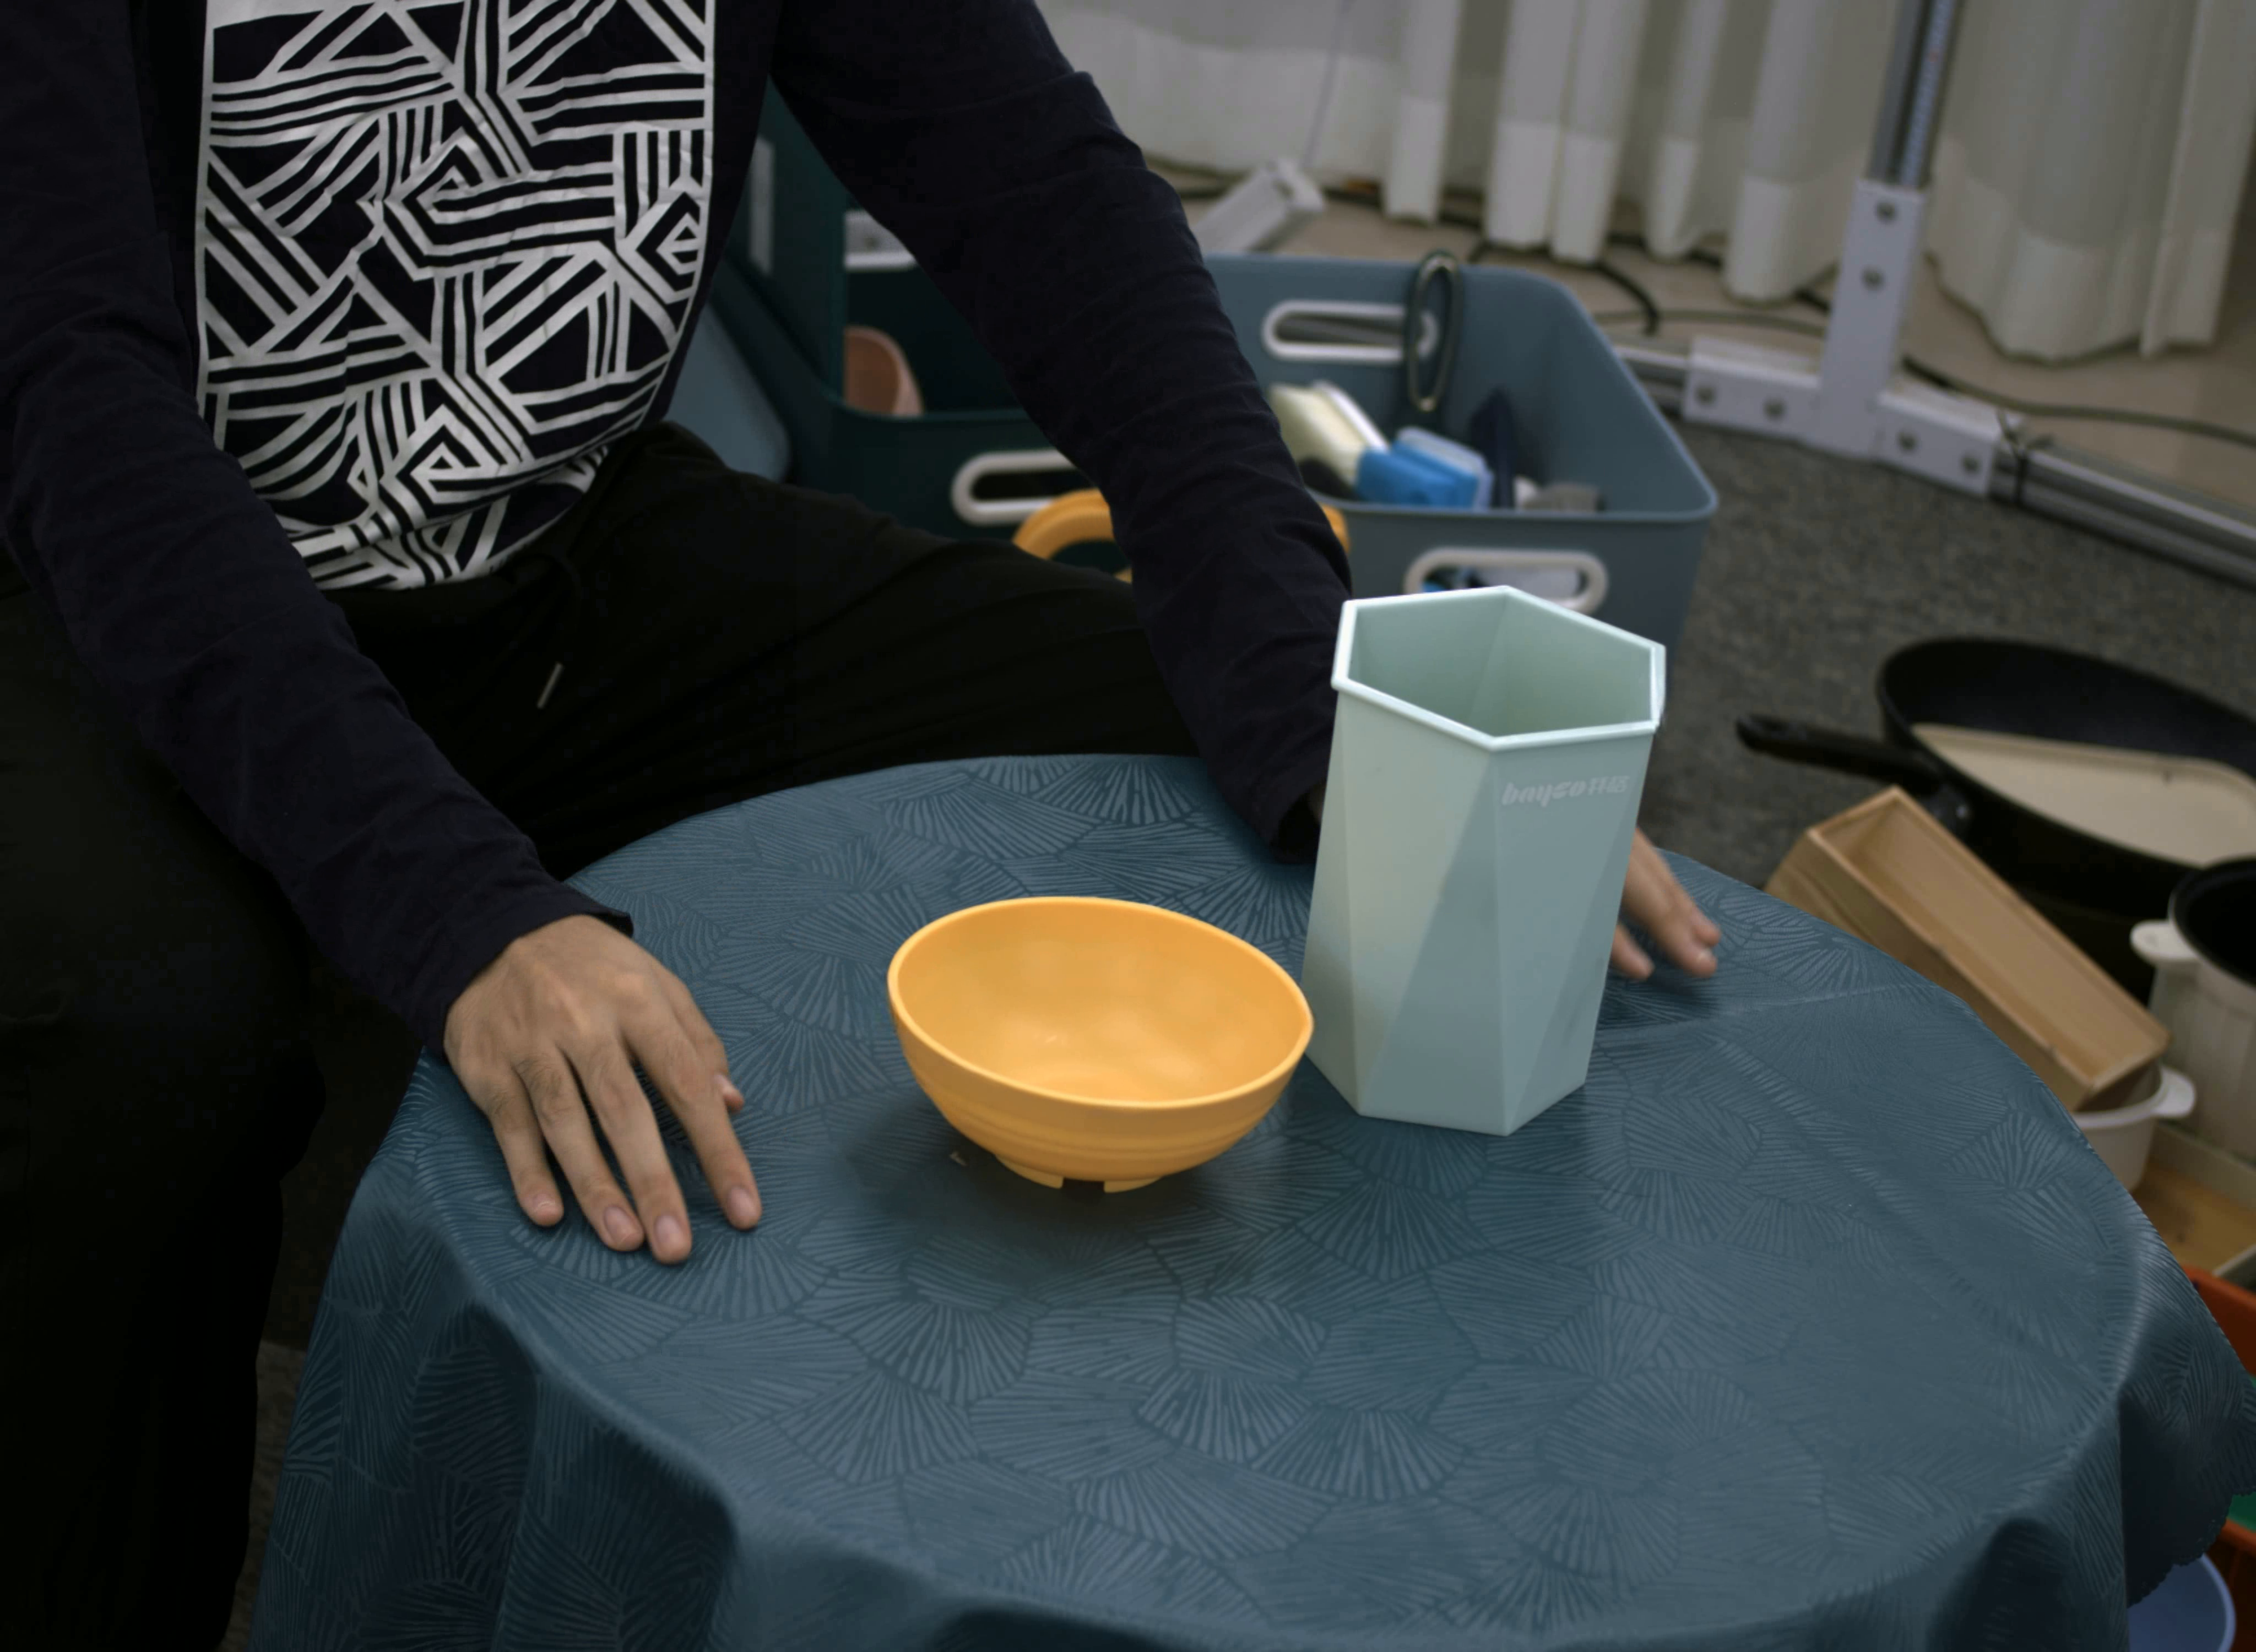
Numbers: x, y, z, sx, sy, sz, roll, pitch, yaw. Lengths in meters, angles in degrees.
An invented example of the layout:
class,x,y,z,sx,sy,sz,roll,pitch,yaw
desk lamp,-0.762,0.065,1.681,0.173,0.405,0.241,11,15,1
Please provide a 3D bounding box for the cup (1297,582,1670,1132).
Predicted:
class,x,y,z,sx,sy,sz,roll,pitch,yaw
cup,0.122,0.013,1.871,0.130,0.162,0.116,-6,28,-26

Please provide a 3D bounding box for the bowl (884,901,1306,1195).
class,x,y,z,sx,sy,sz,roll,pitch,yaw
bowl,-0.014,0.085,1.818,0.145,0.060,0.146,5,25,-3
